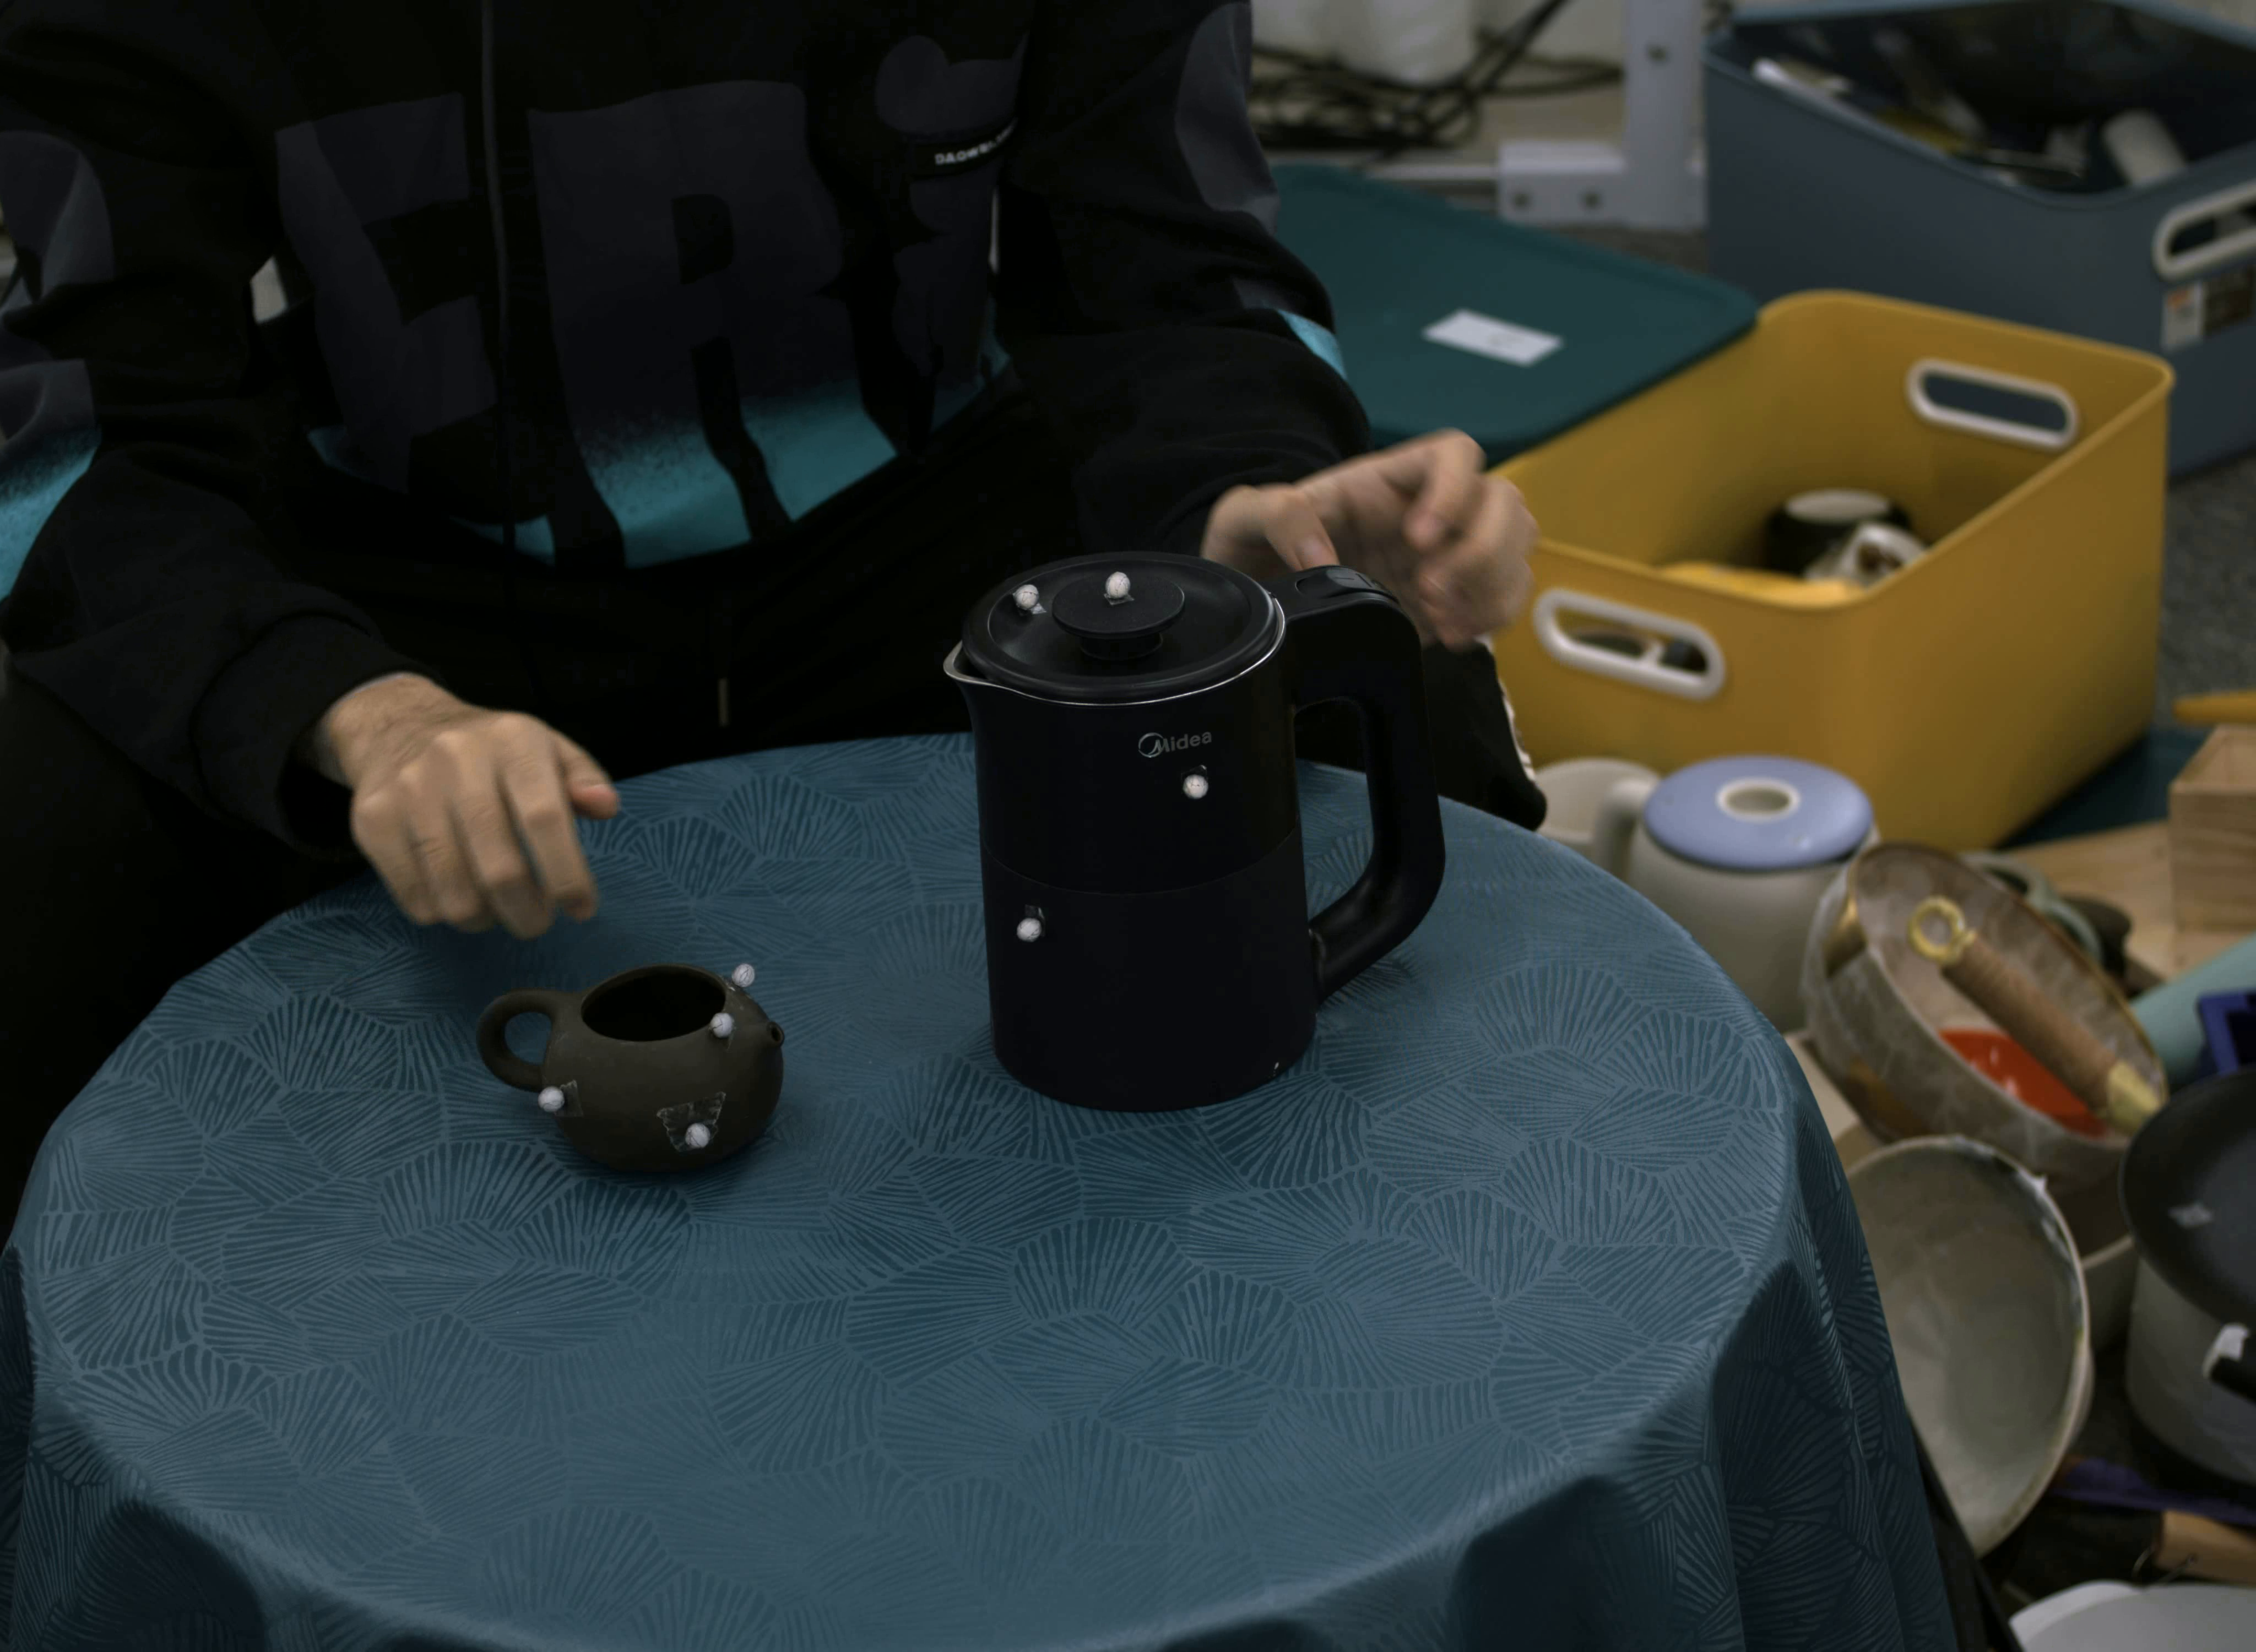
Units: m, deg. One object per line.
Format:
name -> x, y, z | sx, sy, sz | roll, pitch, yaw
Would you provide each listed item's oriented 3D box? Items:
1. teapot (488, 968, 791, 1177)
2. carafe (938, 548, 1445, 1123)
teapot -> -0.166, 0.080, 1.902 | 0.113, 0.052, 0.084 | 12, 30, 21
carafe -> 0.024, -0.008, 1.925 | 0.172, 0.171, 0.115 | -16, 27, -18
